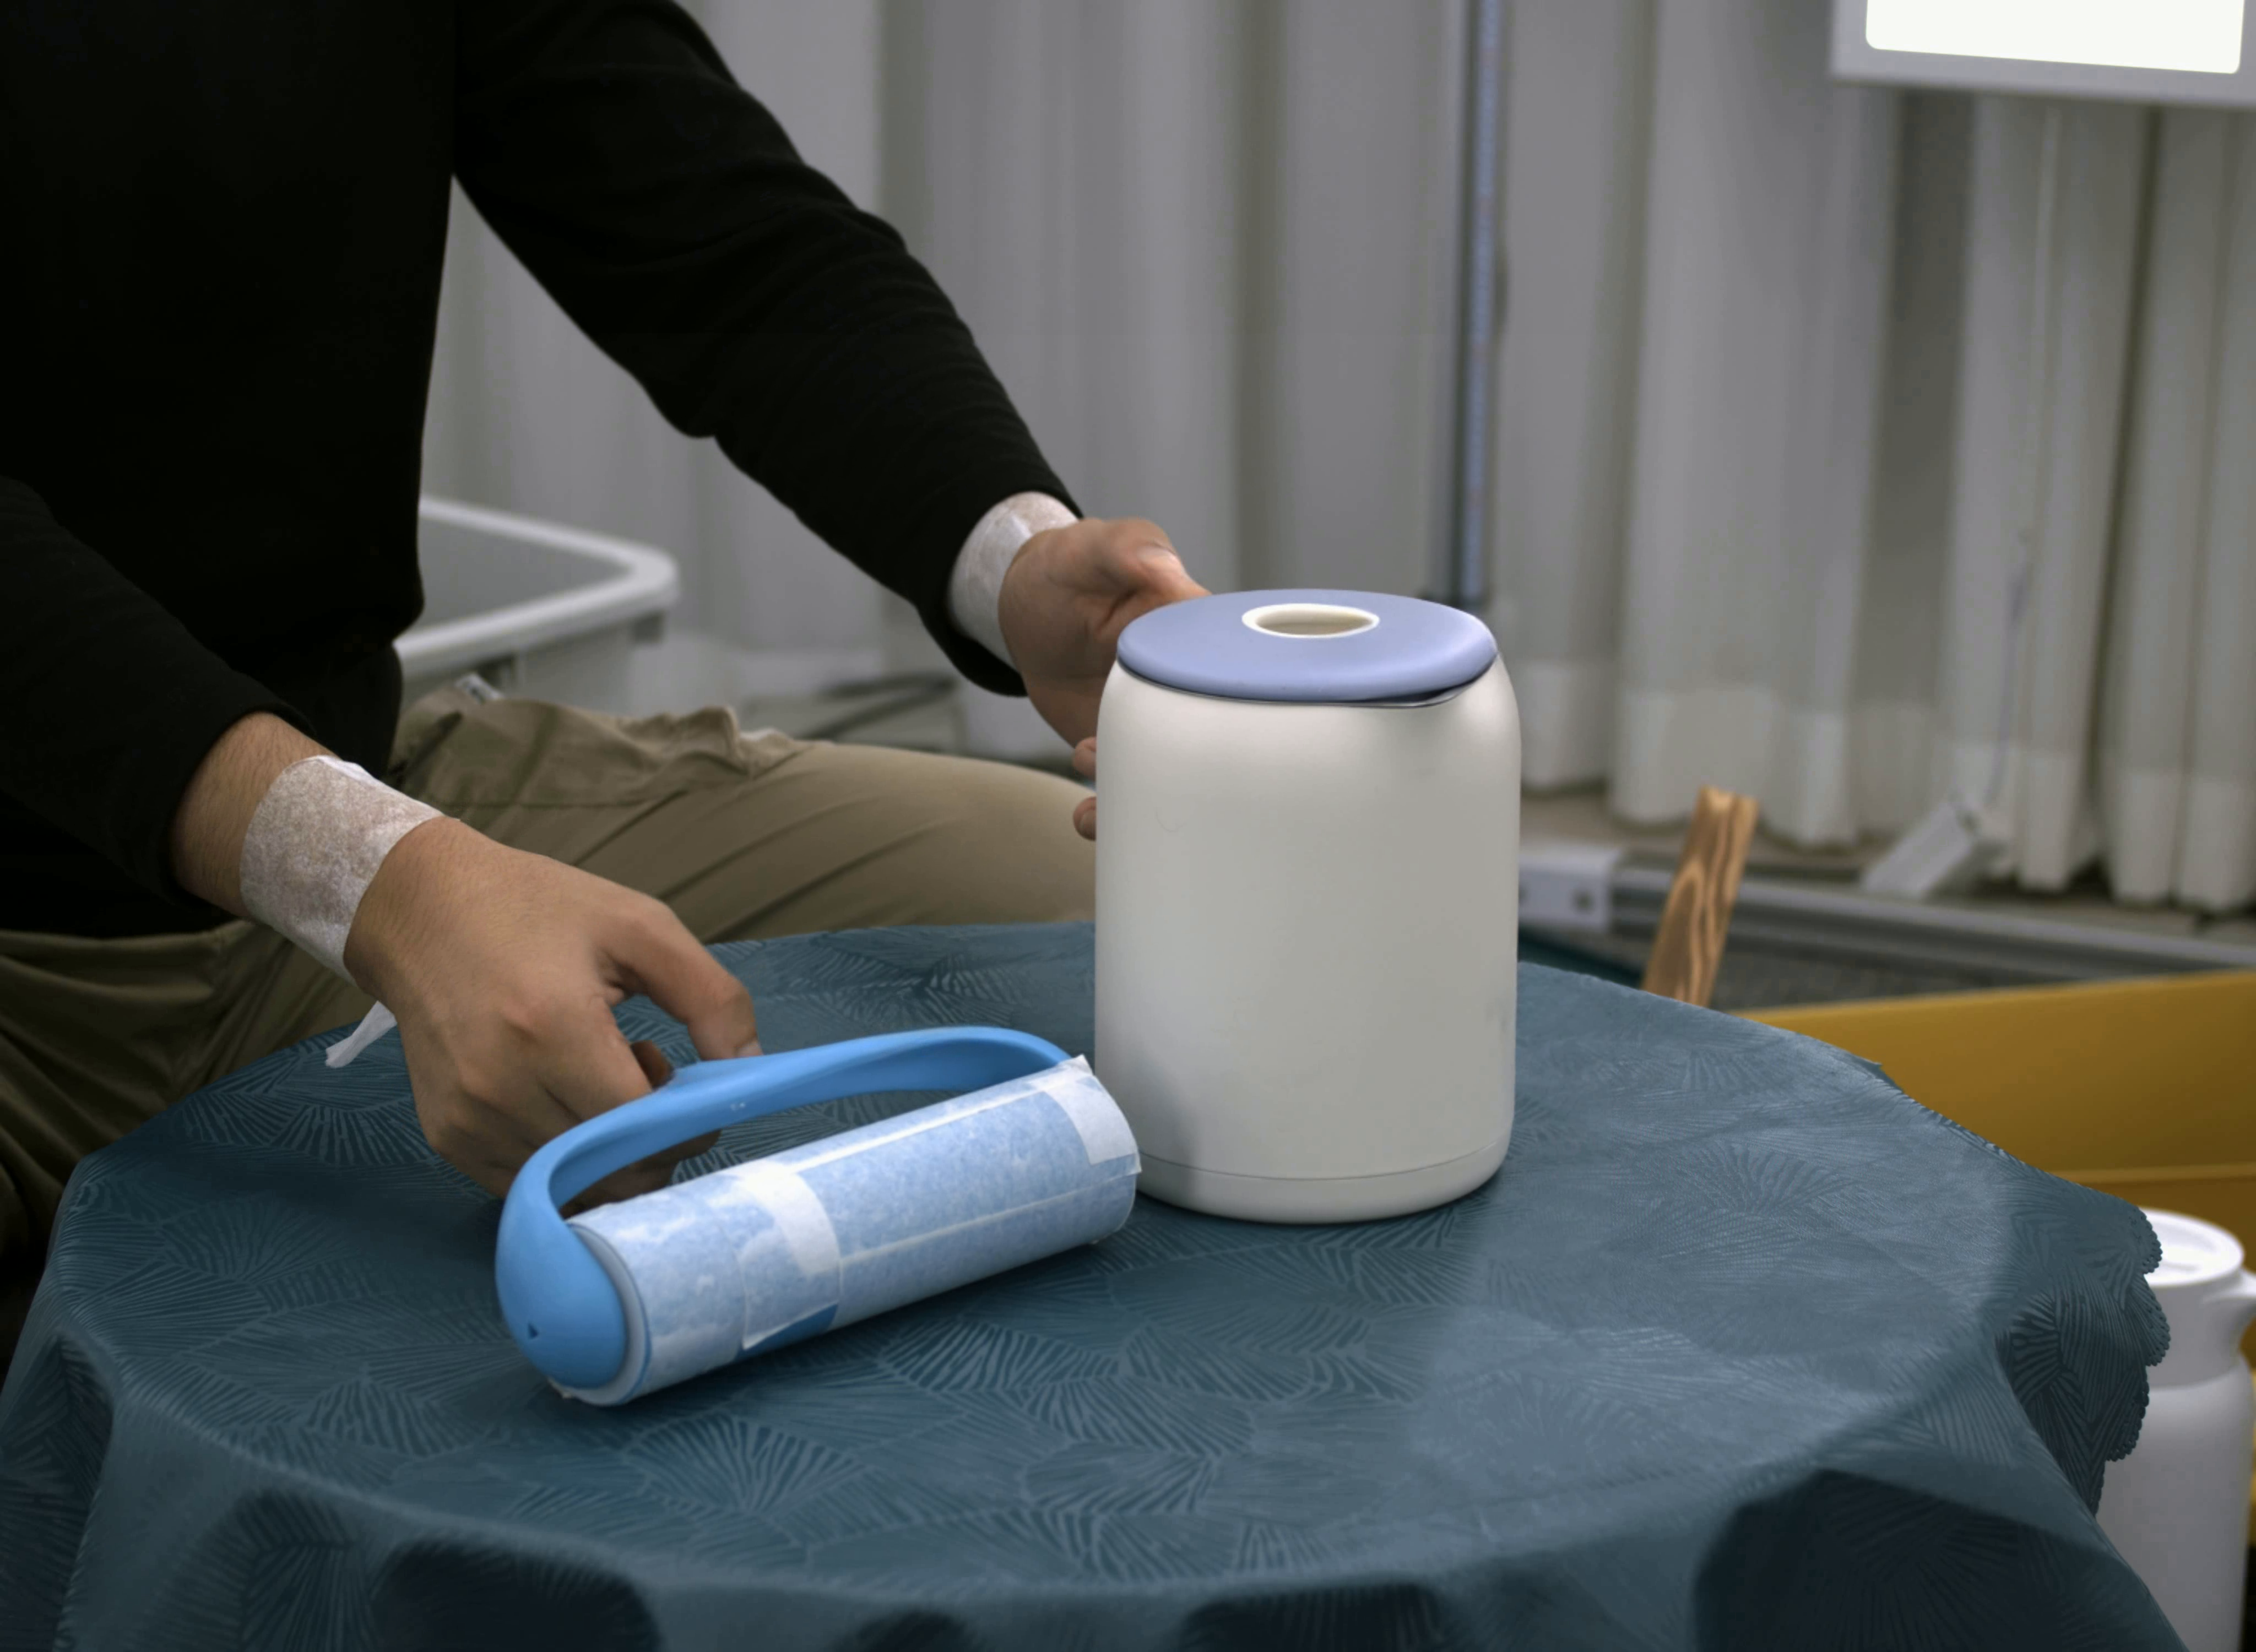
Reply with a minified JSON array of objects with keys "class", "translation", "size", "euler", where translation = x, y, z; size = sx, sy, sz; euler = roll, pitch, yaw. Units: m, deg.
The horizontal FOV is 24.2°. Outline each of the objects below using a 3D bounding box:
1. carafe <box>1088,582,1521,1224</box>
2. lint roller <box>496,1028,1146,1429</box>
[{"class":"carafe","translation":[0.043,0.017,1.642],"size":[0.133,0.184,0.188],"euler":[-9,16,-30]},{"class":"lint roller","translation":[-0.125,0.101,1.544],"size":[0.178,0.068,0.230],"euler":[22,29,38]}]
